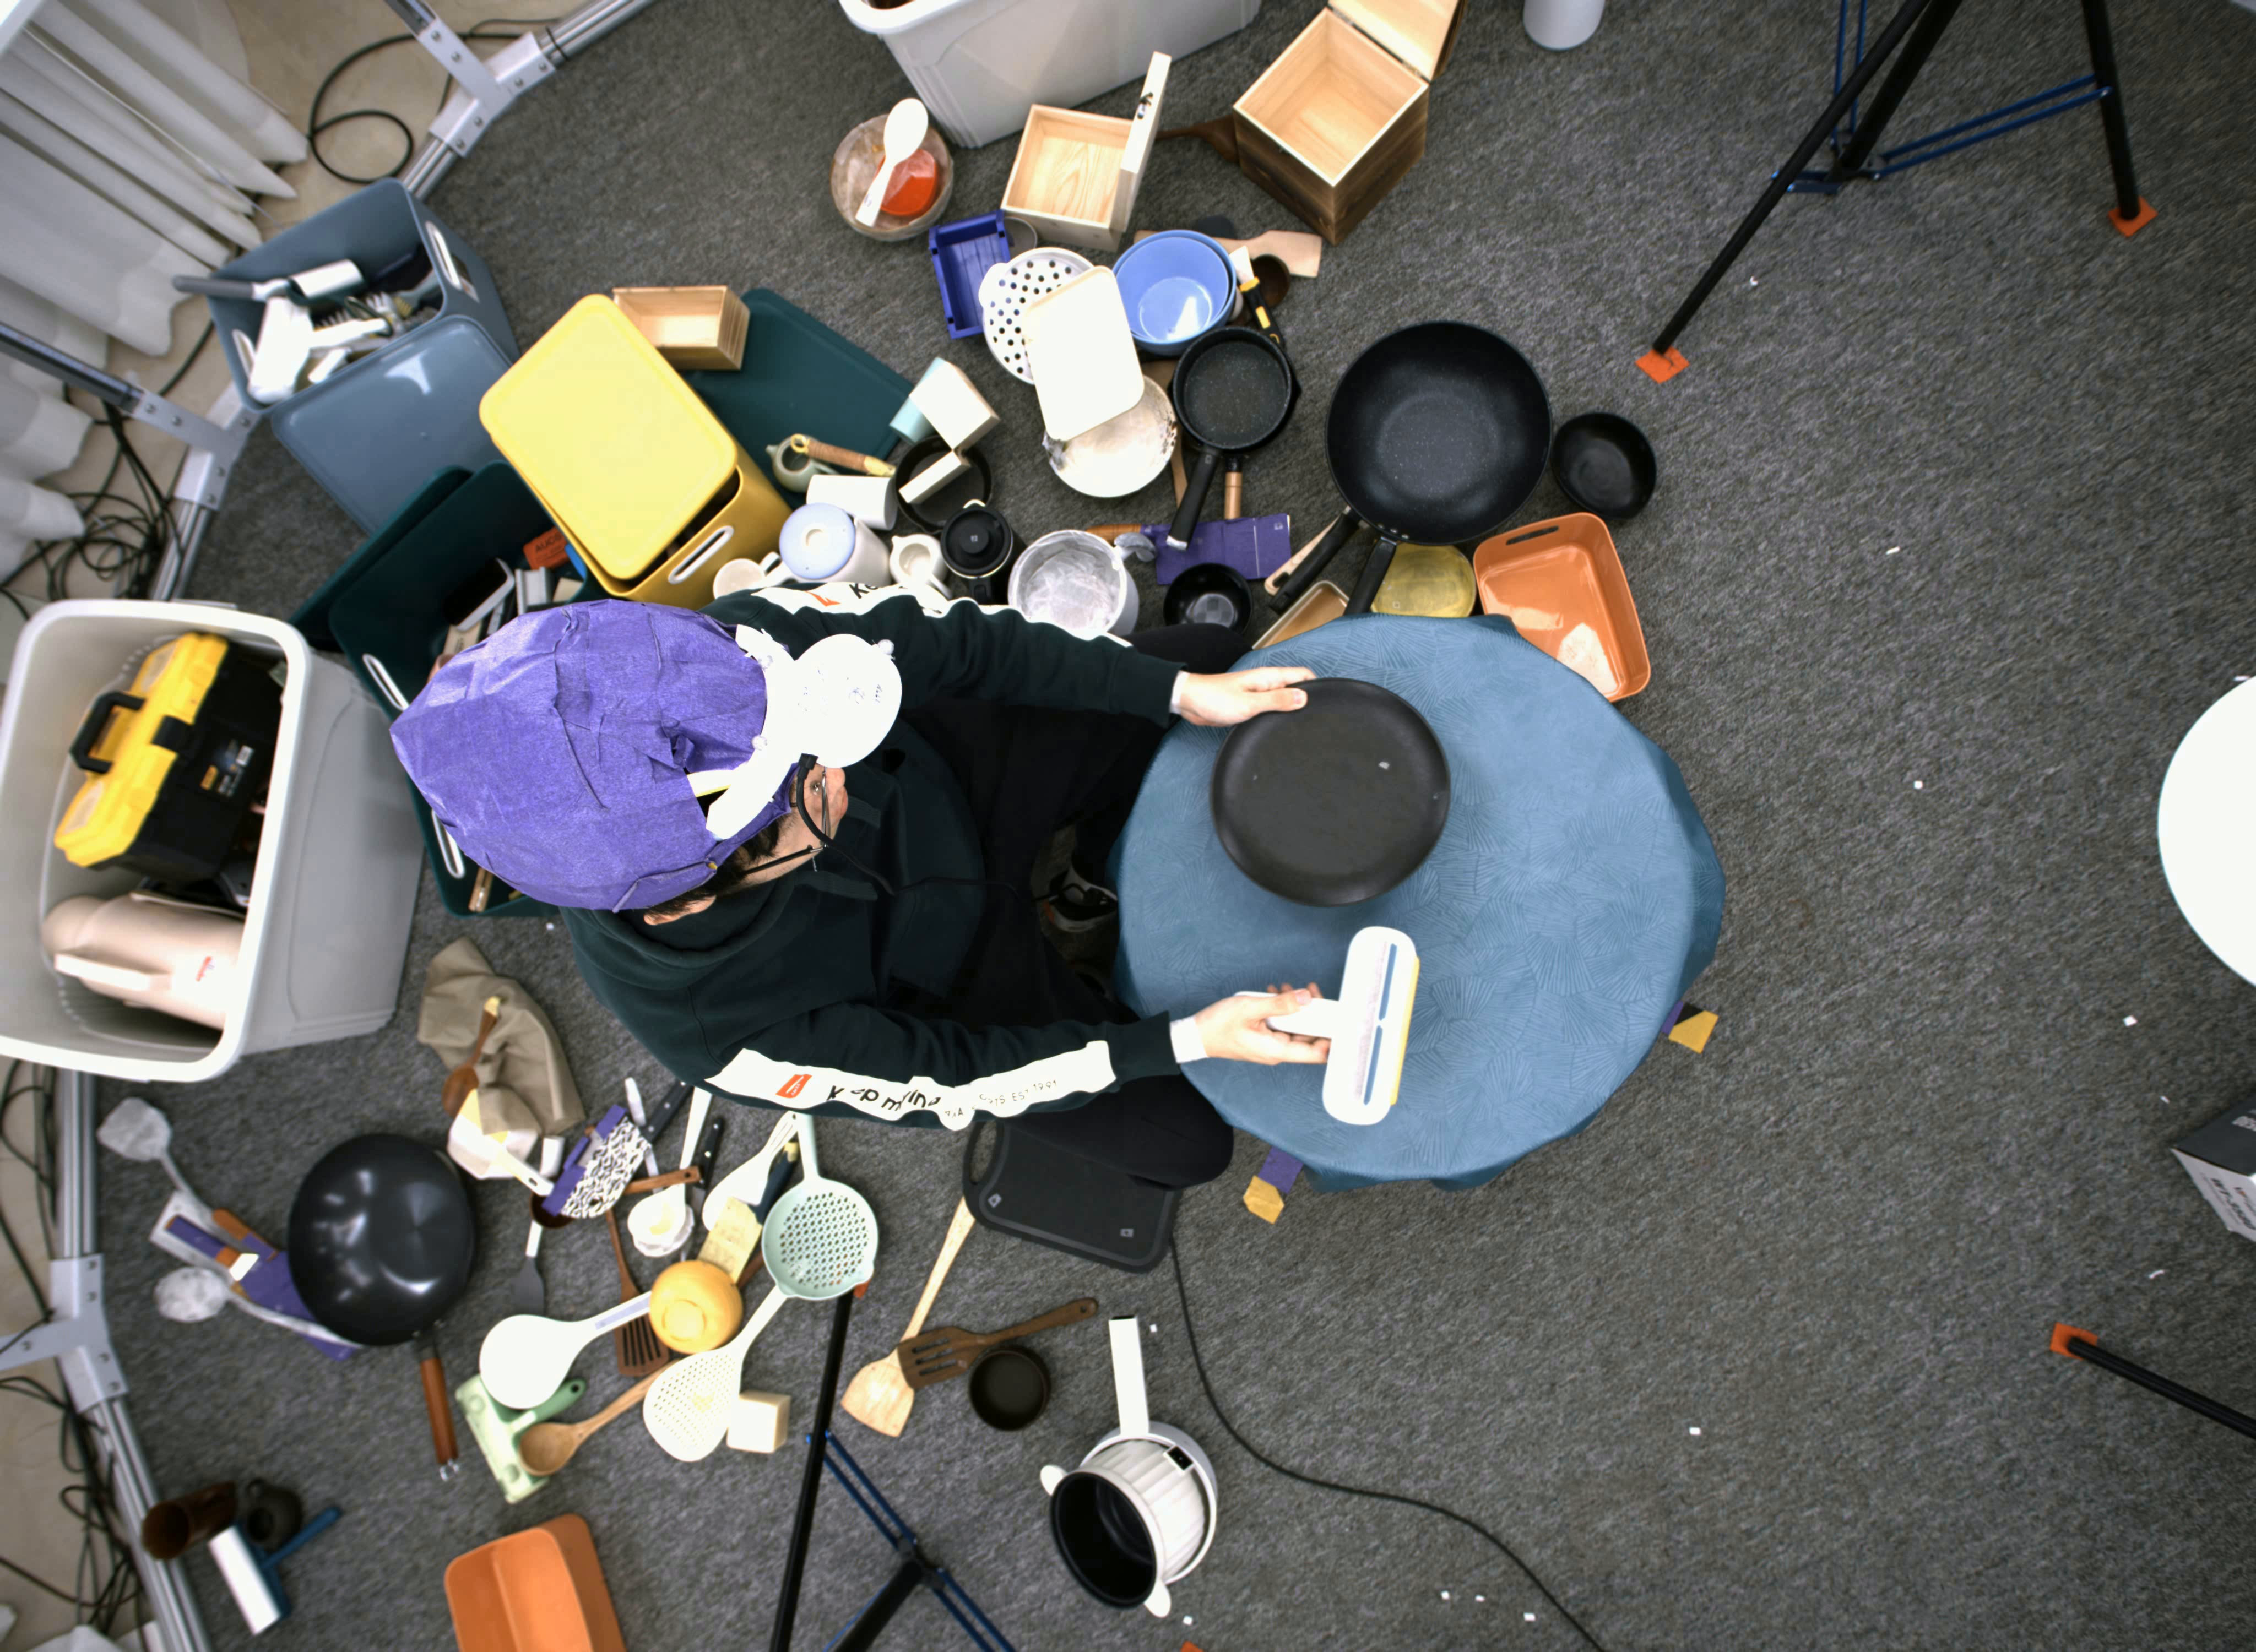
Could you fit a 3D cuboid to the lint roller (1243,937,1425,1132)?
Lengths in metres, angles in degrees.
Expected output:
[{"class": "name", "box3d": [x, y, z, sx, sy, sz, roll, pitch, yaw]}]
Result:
[{"class": "lint roller", "box3d": [0.190, 0.195, 1.385, 0.193, 0.074, 0.191, 11, 81, 35]}]

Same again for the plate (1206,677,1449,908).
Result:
[{"class": "plate", "box3d": [0.200, -0.035, 1.393, 0.245, 0.023, 0.241, -3, 76, 12]}]
